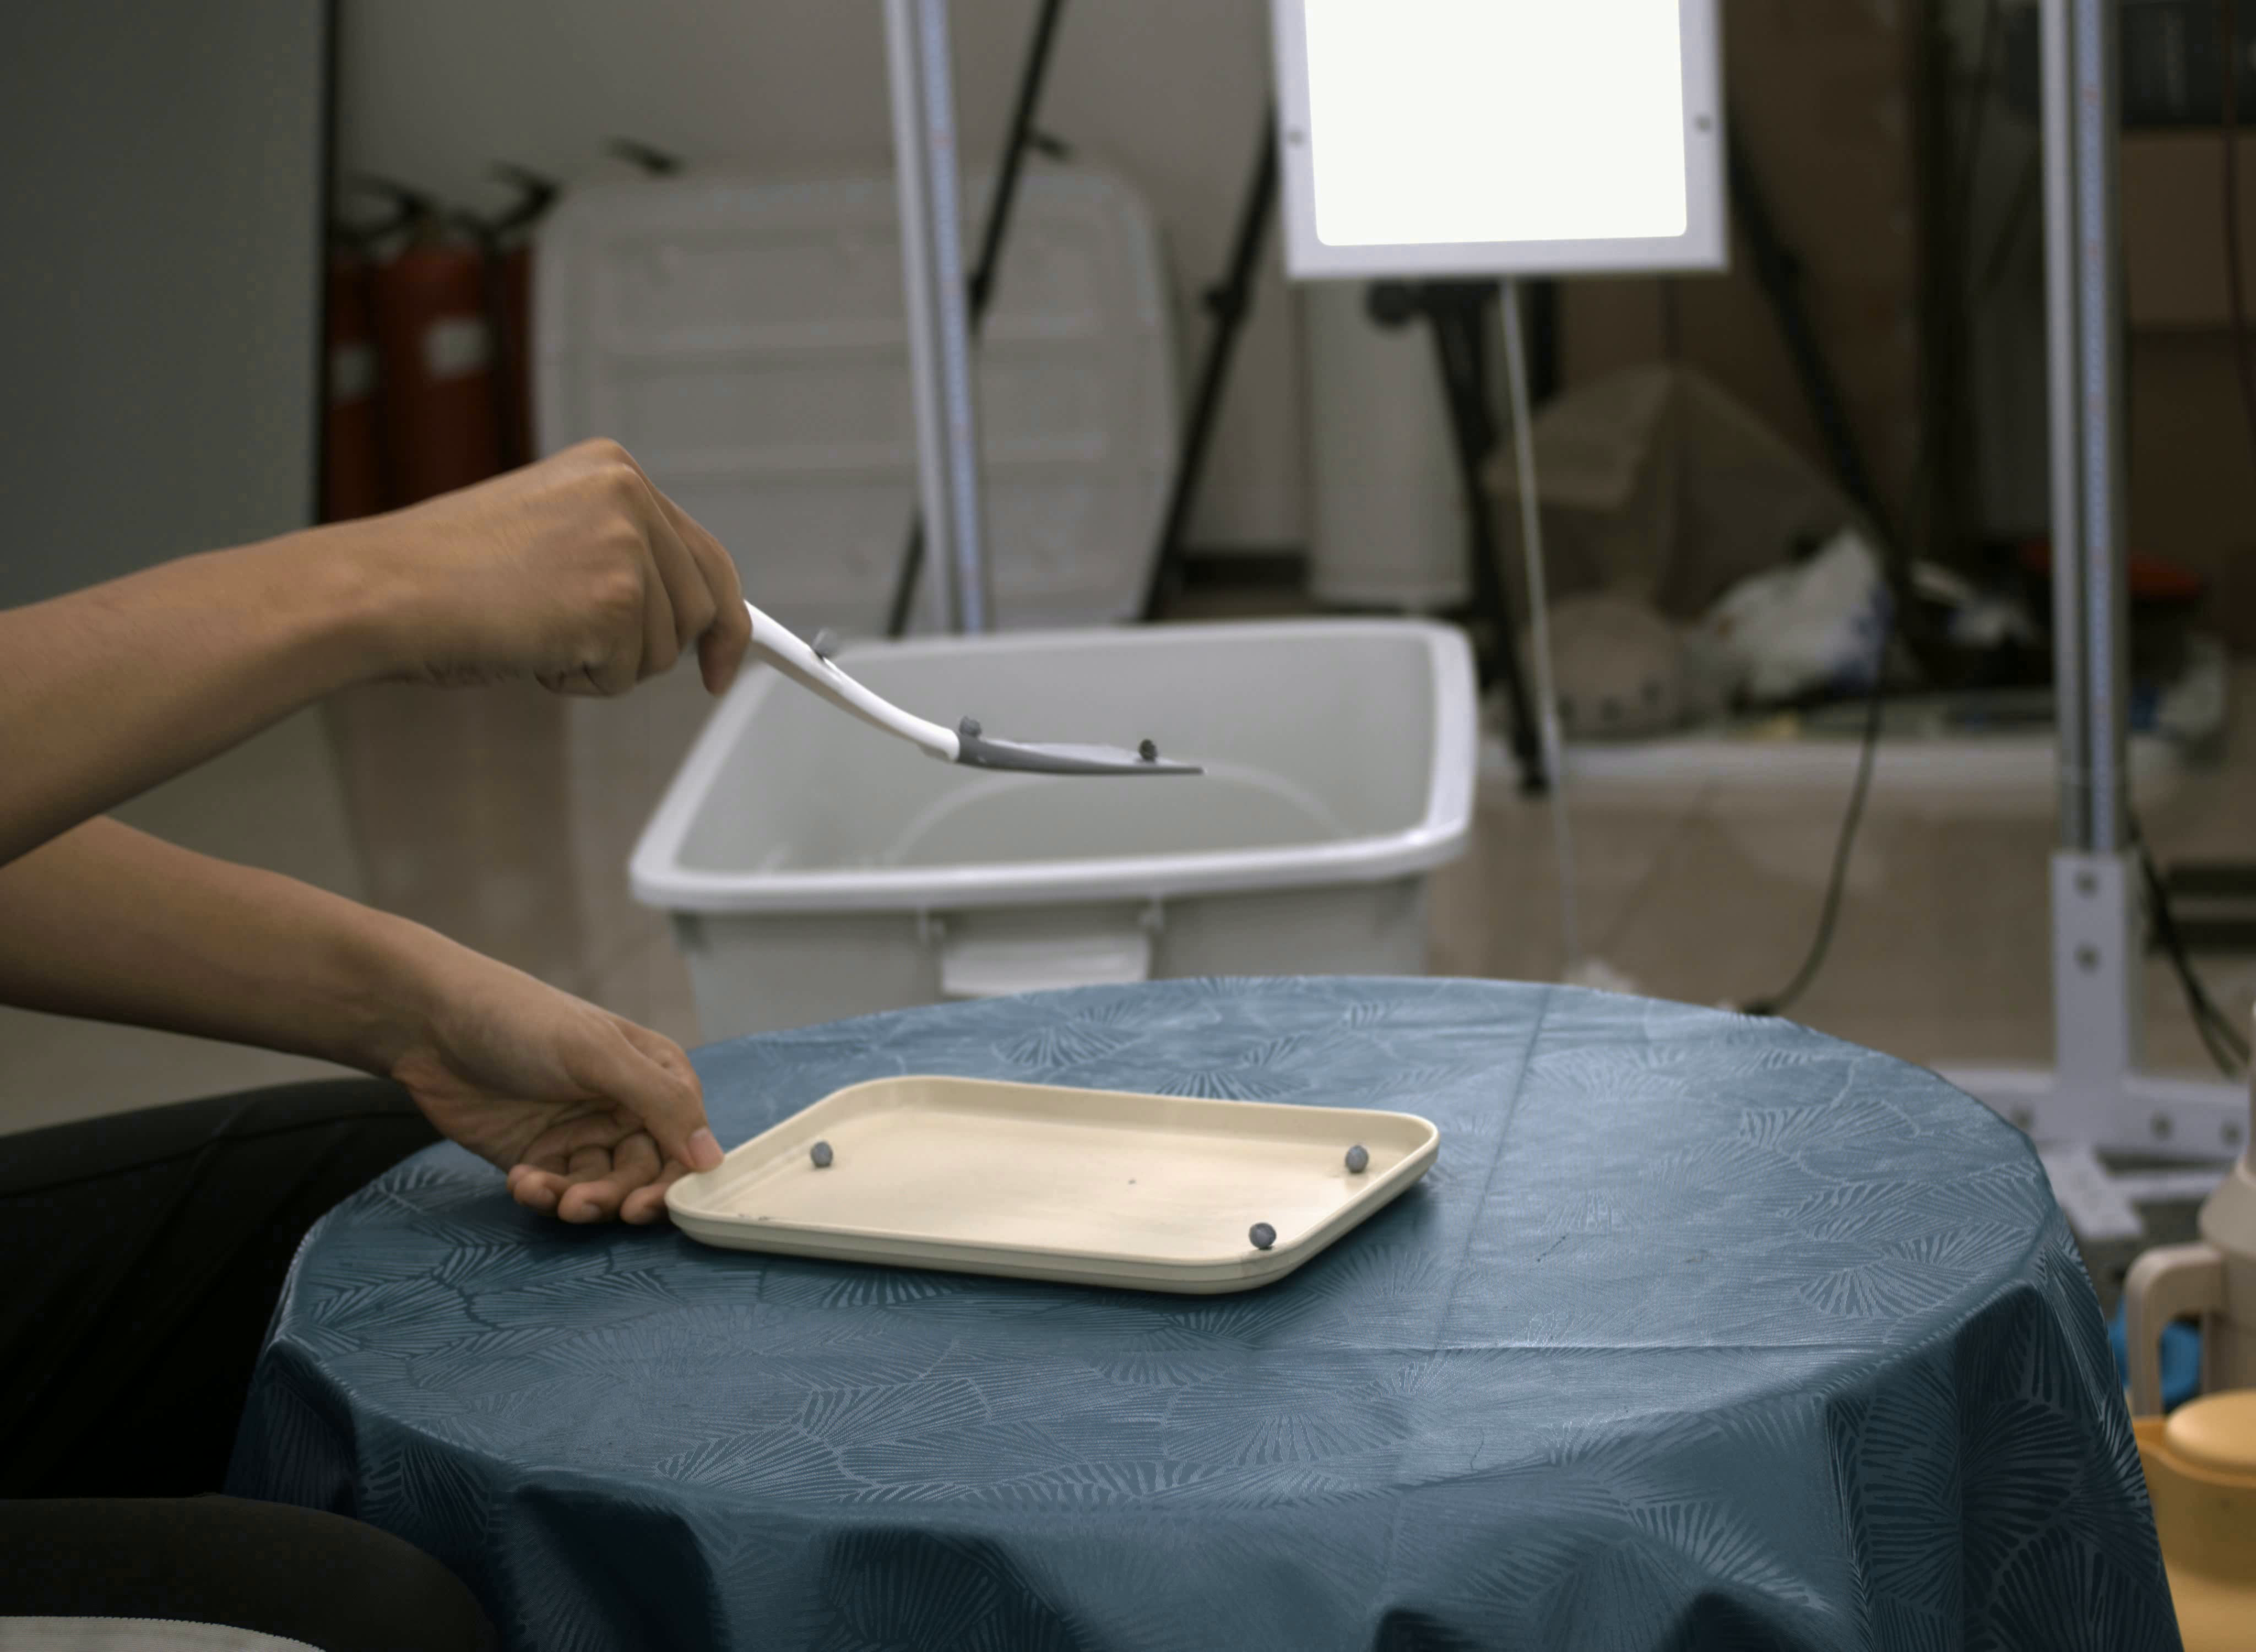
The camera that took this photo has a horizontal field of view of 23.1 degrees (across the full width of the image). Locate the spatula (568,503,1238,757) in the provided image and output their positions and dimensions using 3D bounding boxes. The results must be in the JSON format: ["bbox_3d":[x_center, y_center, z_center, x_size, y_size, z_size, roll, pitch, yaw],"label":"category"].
[{"bbox_3d":[-0.073,-0.054,1.823,0.060,0.032,0.281,8,-8,44],"label":"spatula"}]

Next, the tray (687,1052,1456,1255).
[{"bbox_3d":[-0.018,0.113,1.899,0.244,0.017,0.167,2,14,29],"label":"tray"}]
